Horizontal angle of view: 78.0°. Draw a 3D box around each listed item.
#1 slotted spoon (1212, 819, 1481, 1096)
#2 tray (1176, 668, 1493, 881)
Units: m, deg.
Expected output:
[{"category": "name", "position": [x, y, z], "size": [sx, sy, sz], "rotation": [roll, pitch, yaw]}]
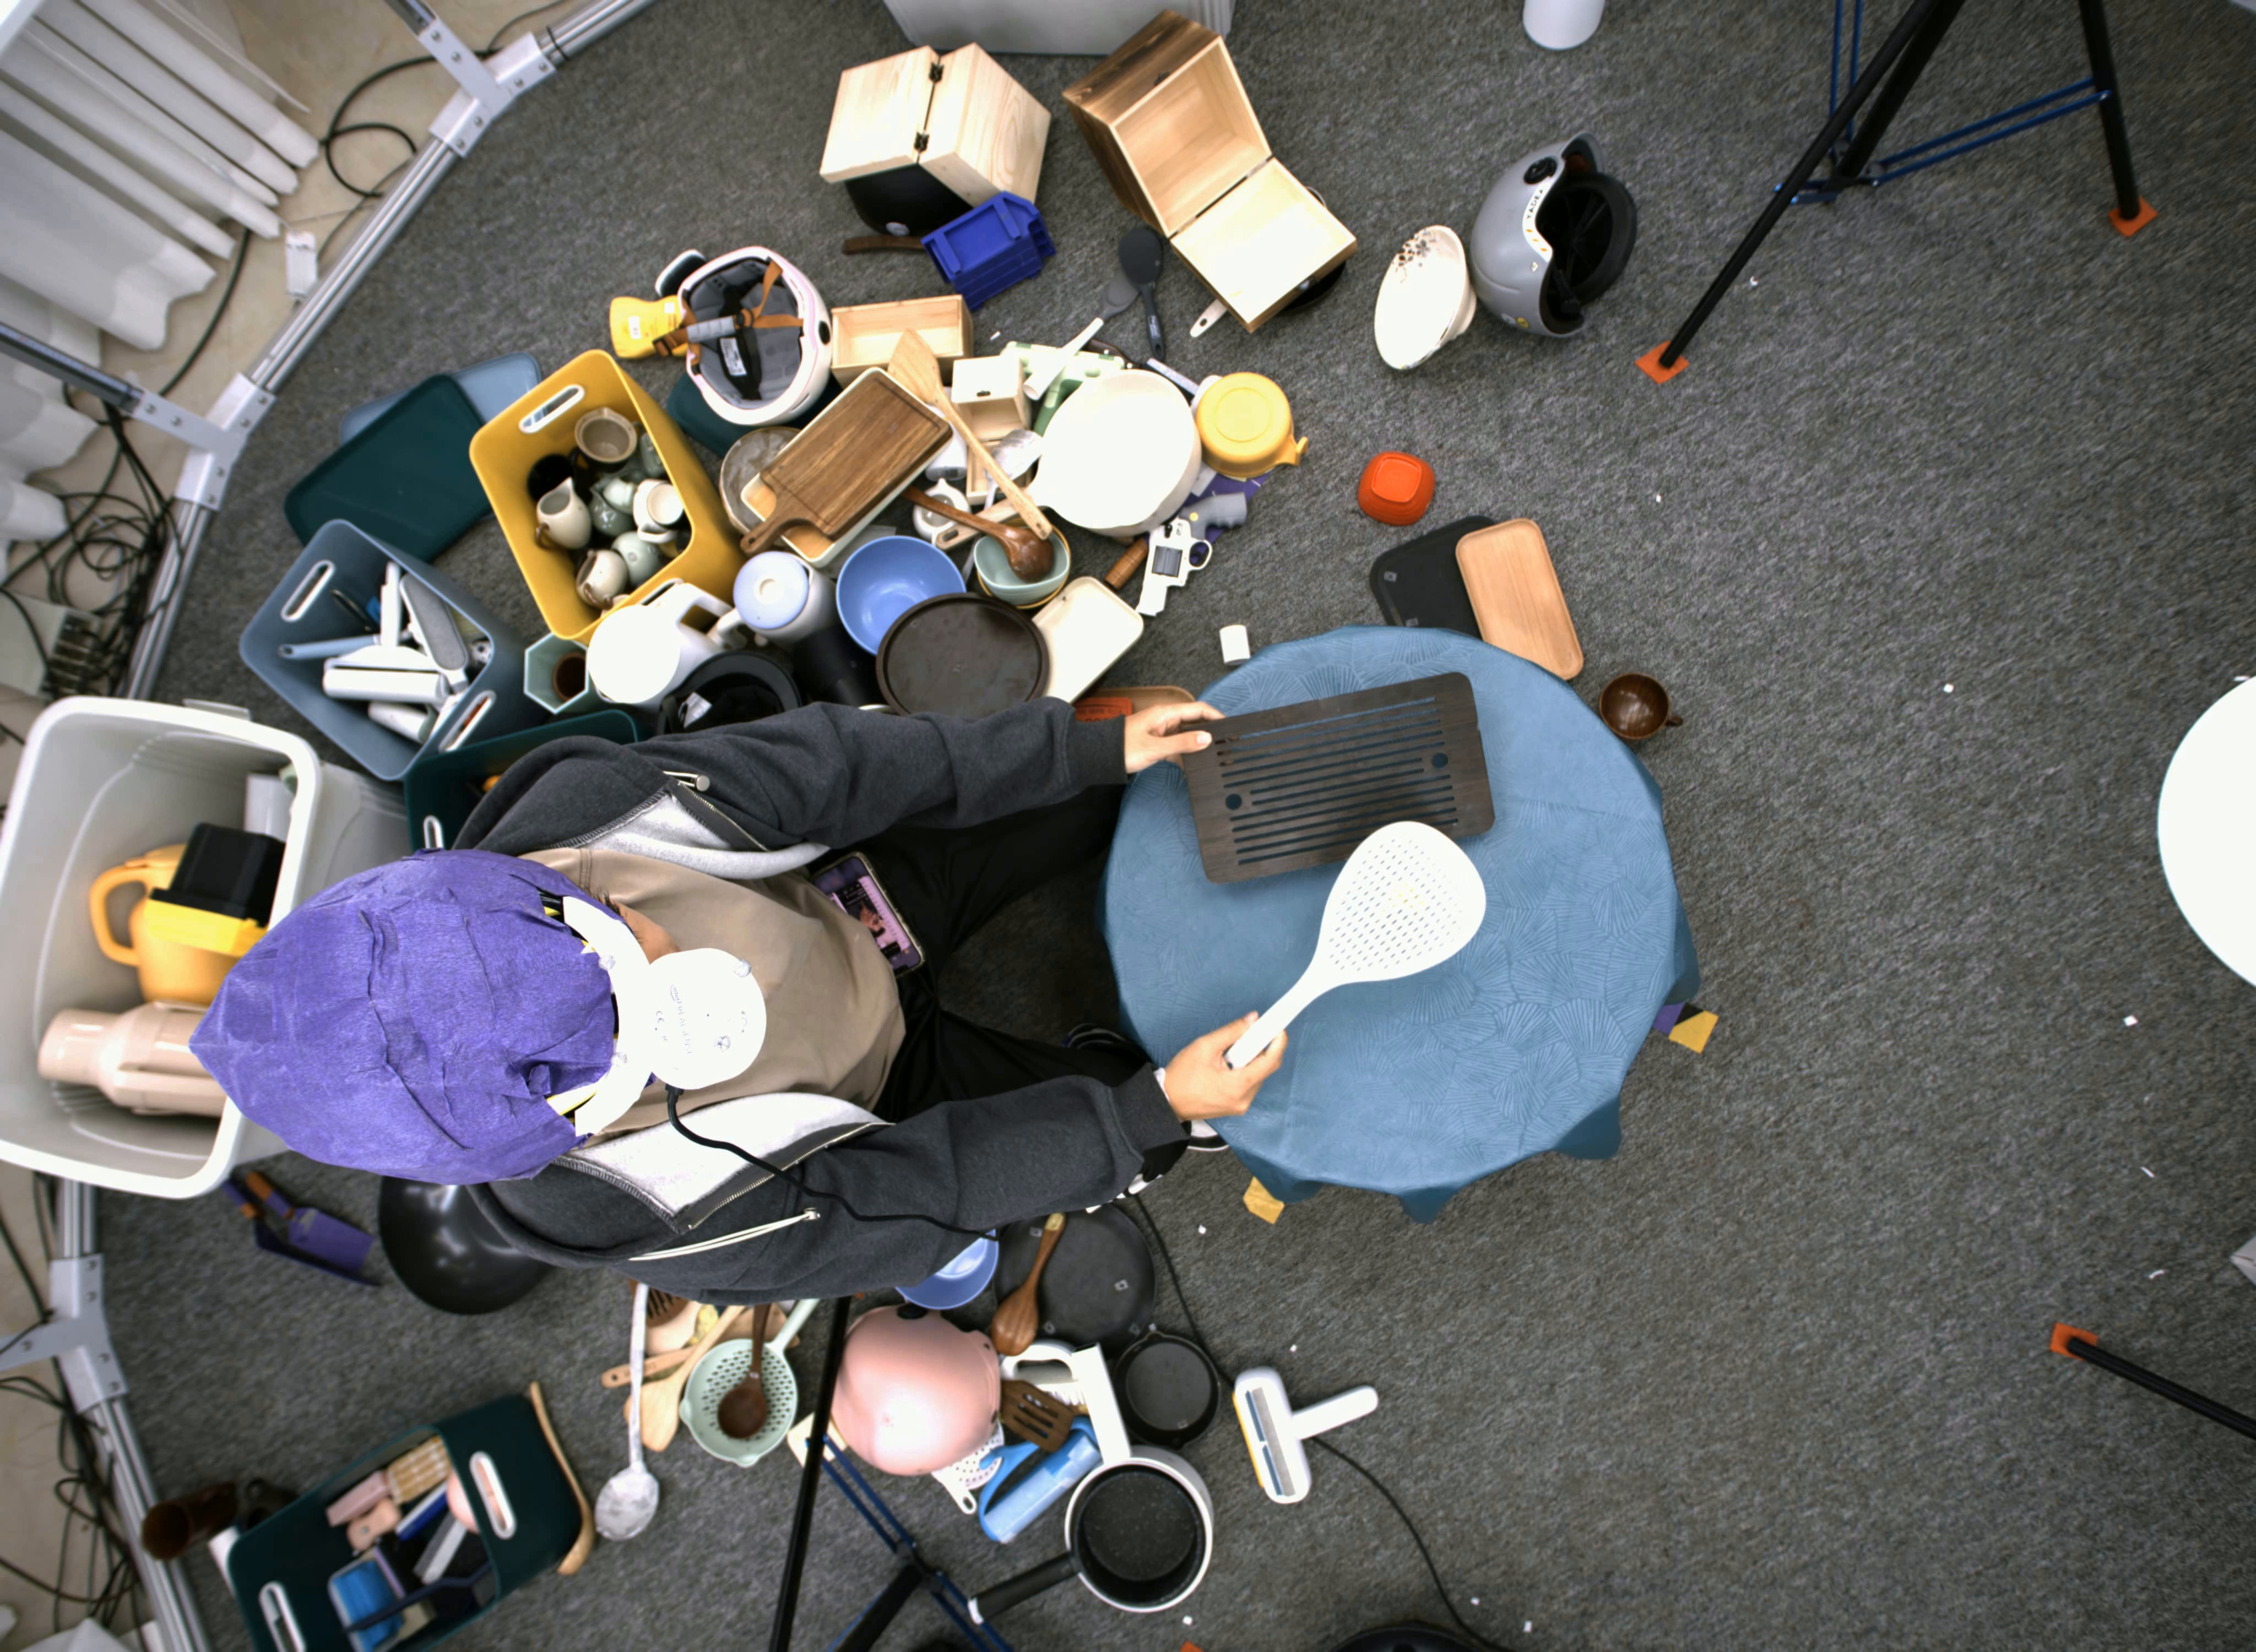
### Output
[{"category": "slotted spoon", "position": [0.196, 0.140, 1.355], "size": [0.136, 0.050, 0.351], "rotation": [46, 102, 11]}, {"category": "tray", "position": [0.213, -0.053, 1.421], "size": [0.307, 0.018, 0.171], "rotation": [-11, 98, 5]}]
